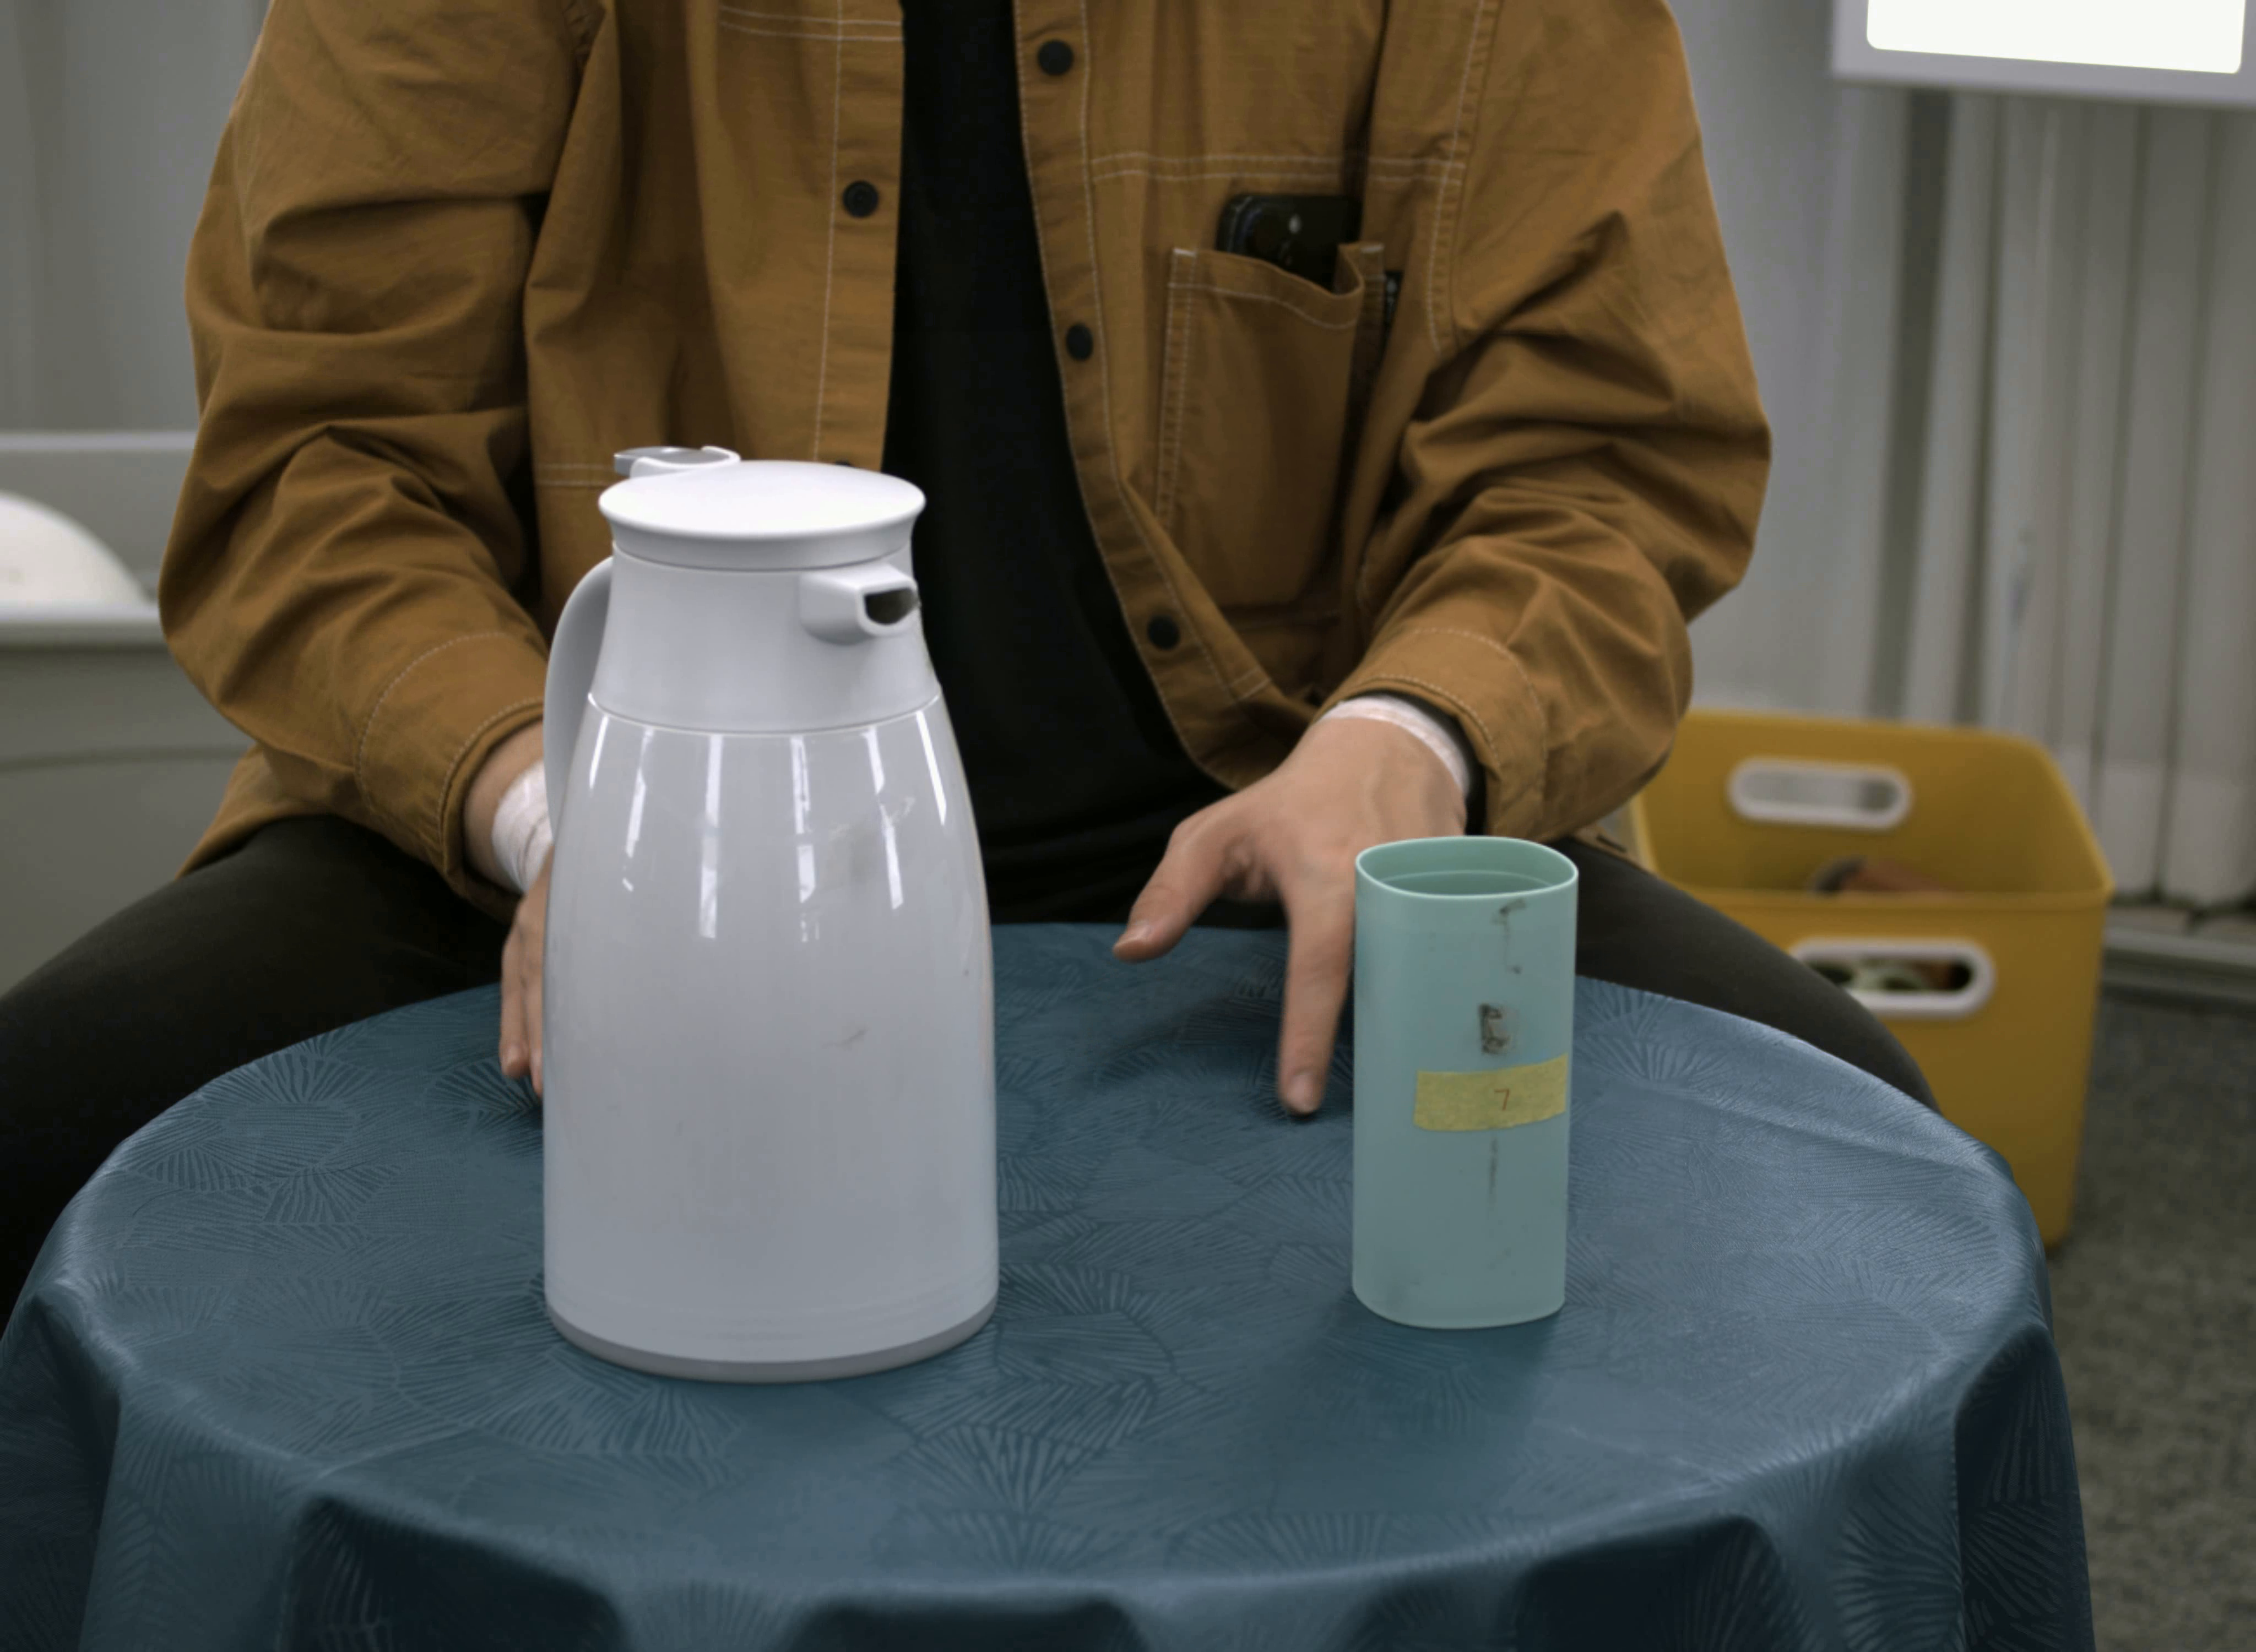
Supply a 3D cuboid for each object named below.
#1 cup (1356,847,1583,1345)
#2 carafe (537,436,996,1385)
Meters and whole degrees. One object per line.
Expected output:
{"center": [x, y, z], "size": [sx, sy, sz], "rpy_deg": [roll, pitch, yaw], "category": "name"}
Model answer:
{"center": [0.097, 0.077, 1.522], "size": [0.066, 0.133, 0.066], "rpy_deg": [1, 17, 0], "category": "cup"}
{"center": [-0.116, 0.015, 1.504], "size": [0.133, 0.250, 0.165], "rpy_deg": [-13, 20, -37], "category": "carafe"}
